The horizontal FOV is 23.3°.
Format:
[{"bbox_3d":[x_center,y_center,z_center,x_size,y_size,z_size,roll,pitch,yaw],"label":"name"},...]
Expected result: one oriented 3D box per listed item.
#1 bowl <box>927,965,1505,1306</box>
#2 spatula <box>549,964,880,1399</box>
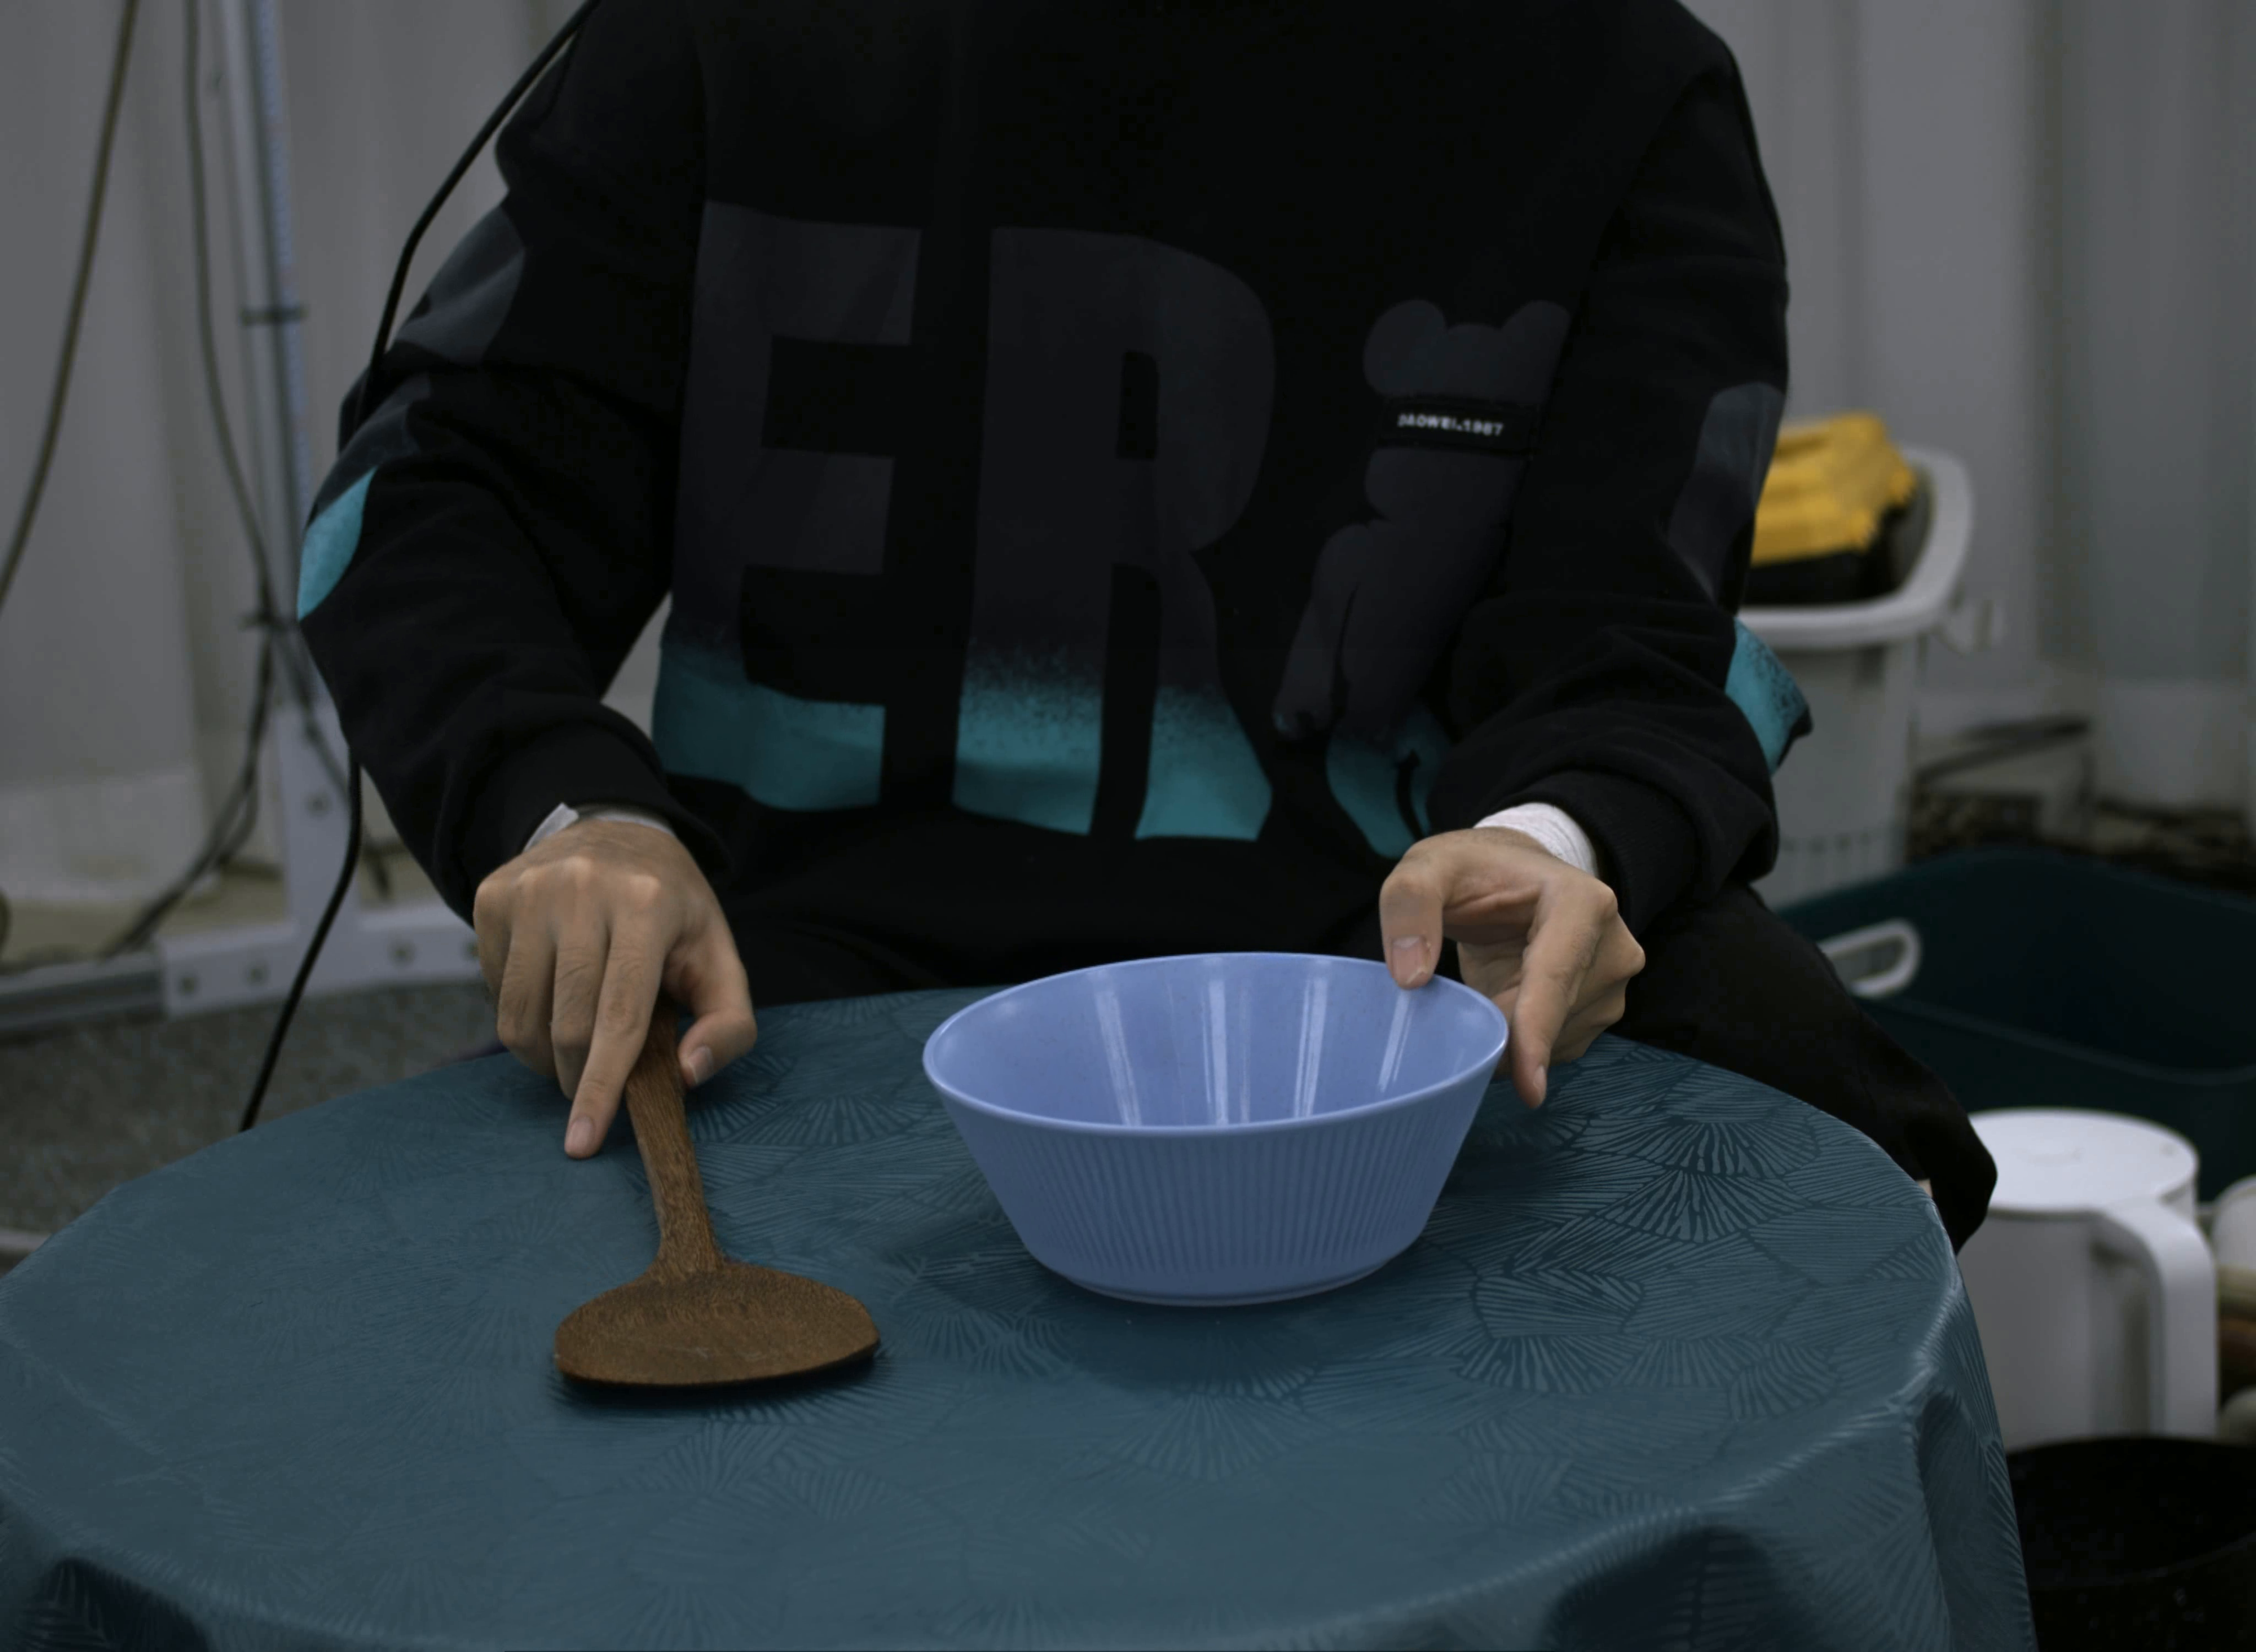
[{"bbox_3d":[0.028,0.095,1.648,0.175,0.070,0.177,-3,13,0],"label":"bowl"},{"bbox_3d":[-0.146,0.105,1.729,0.096,0.016,0.389,-5,18,-9],"label":"spatula"}]
